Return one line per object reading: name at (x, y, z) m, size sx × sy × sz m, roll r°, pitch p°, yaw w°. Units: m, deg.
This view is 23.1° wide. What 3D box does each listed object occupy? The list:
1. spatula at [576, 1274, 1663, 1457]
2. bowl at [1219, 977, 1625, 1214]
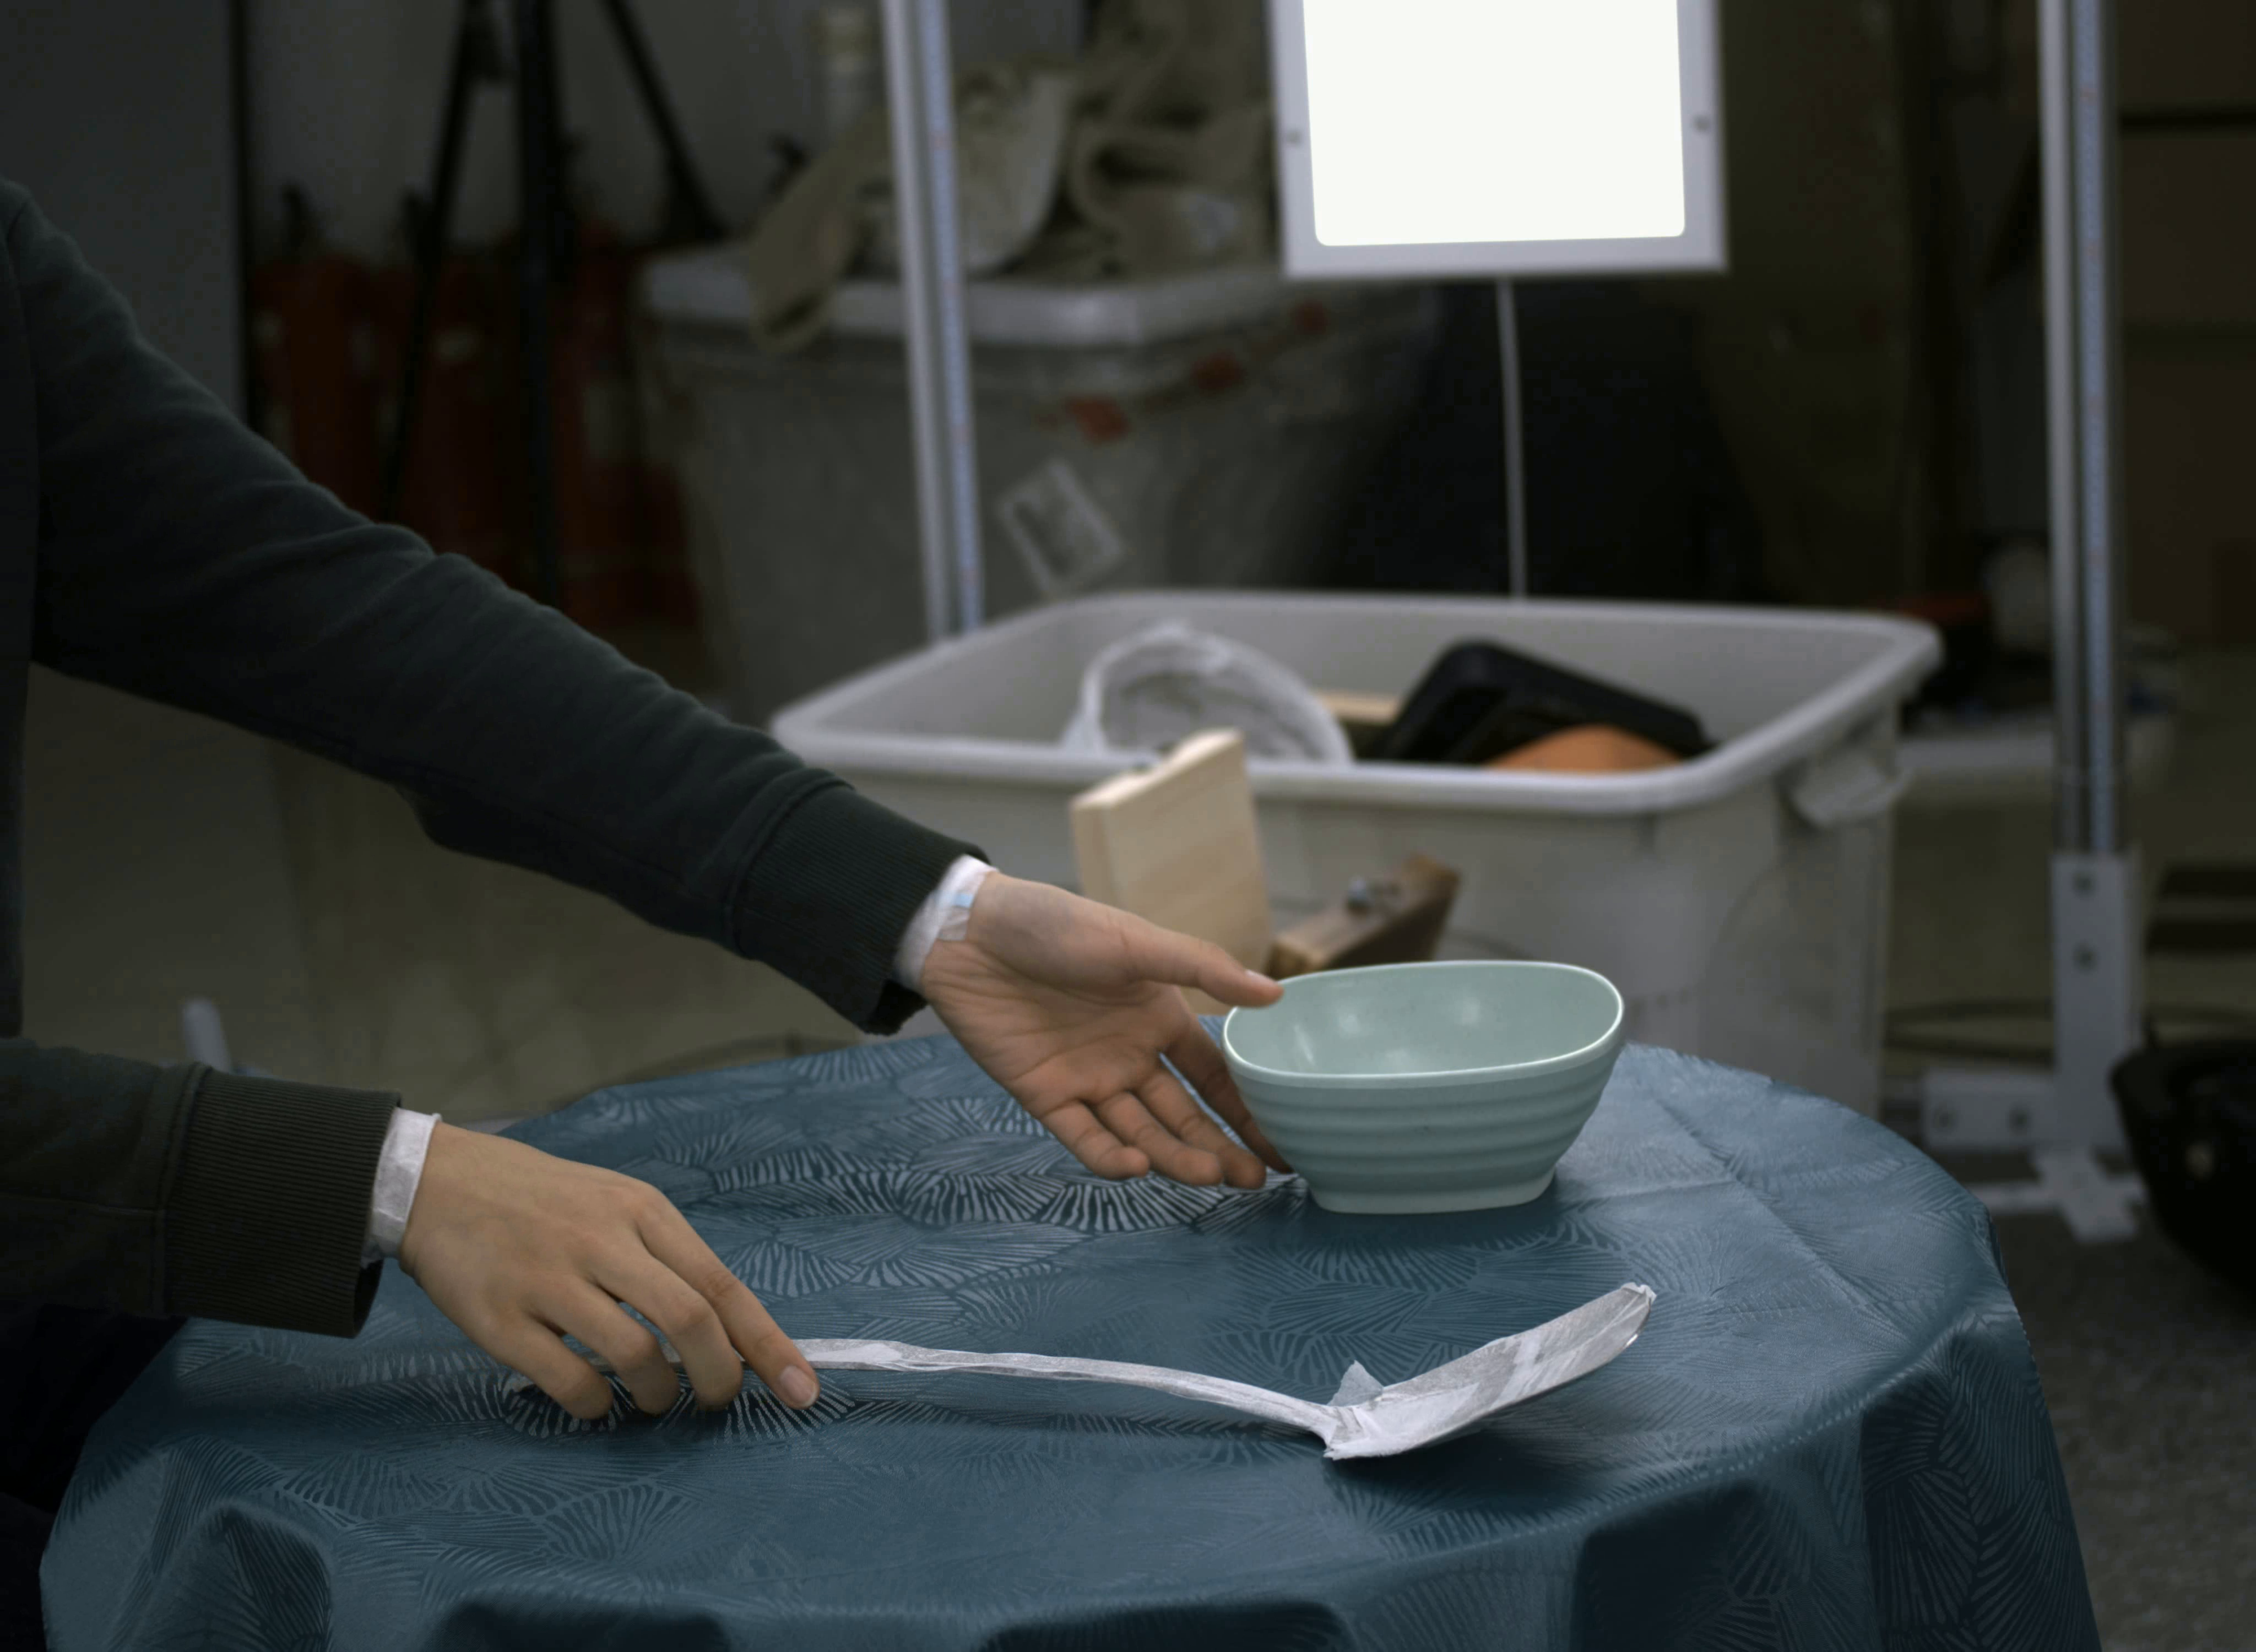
spatula at (-0.015, 0.161, 1.681) m, size 0.370 × 0.045 × 0.097 m, roll 2°, pitch 17°, yaw 24°
bowl at (0.102, 0.094, 1.878) m, size 0.151 × 0.059 × 0.151 m, roll -3°, pitch 11°, yaw -1°
